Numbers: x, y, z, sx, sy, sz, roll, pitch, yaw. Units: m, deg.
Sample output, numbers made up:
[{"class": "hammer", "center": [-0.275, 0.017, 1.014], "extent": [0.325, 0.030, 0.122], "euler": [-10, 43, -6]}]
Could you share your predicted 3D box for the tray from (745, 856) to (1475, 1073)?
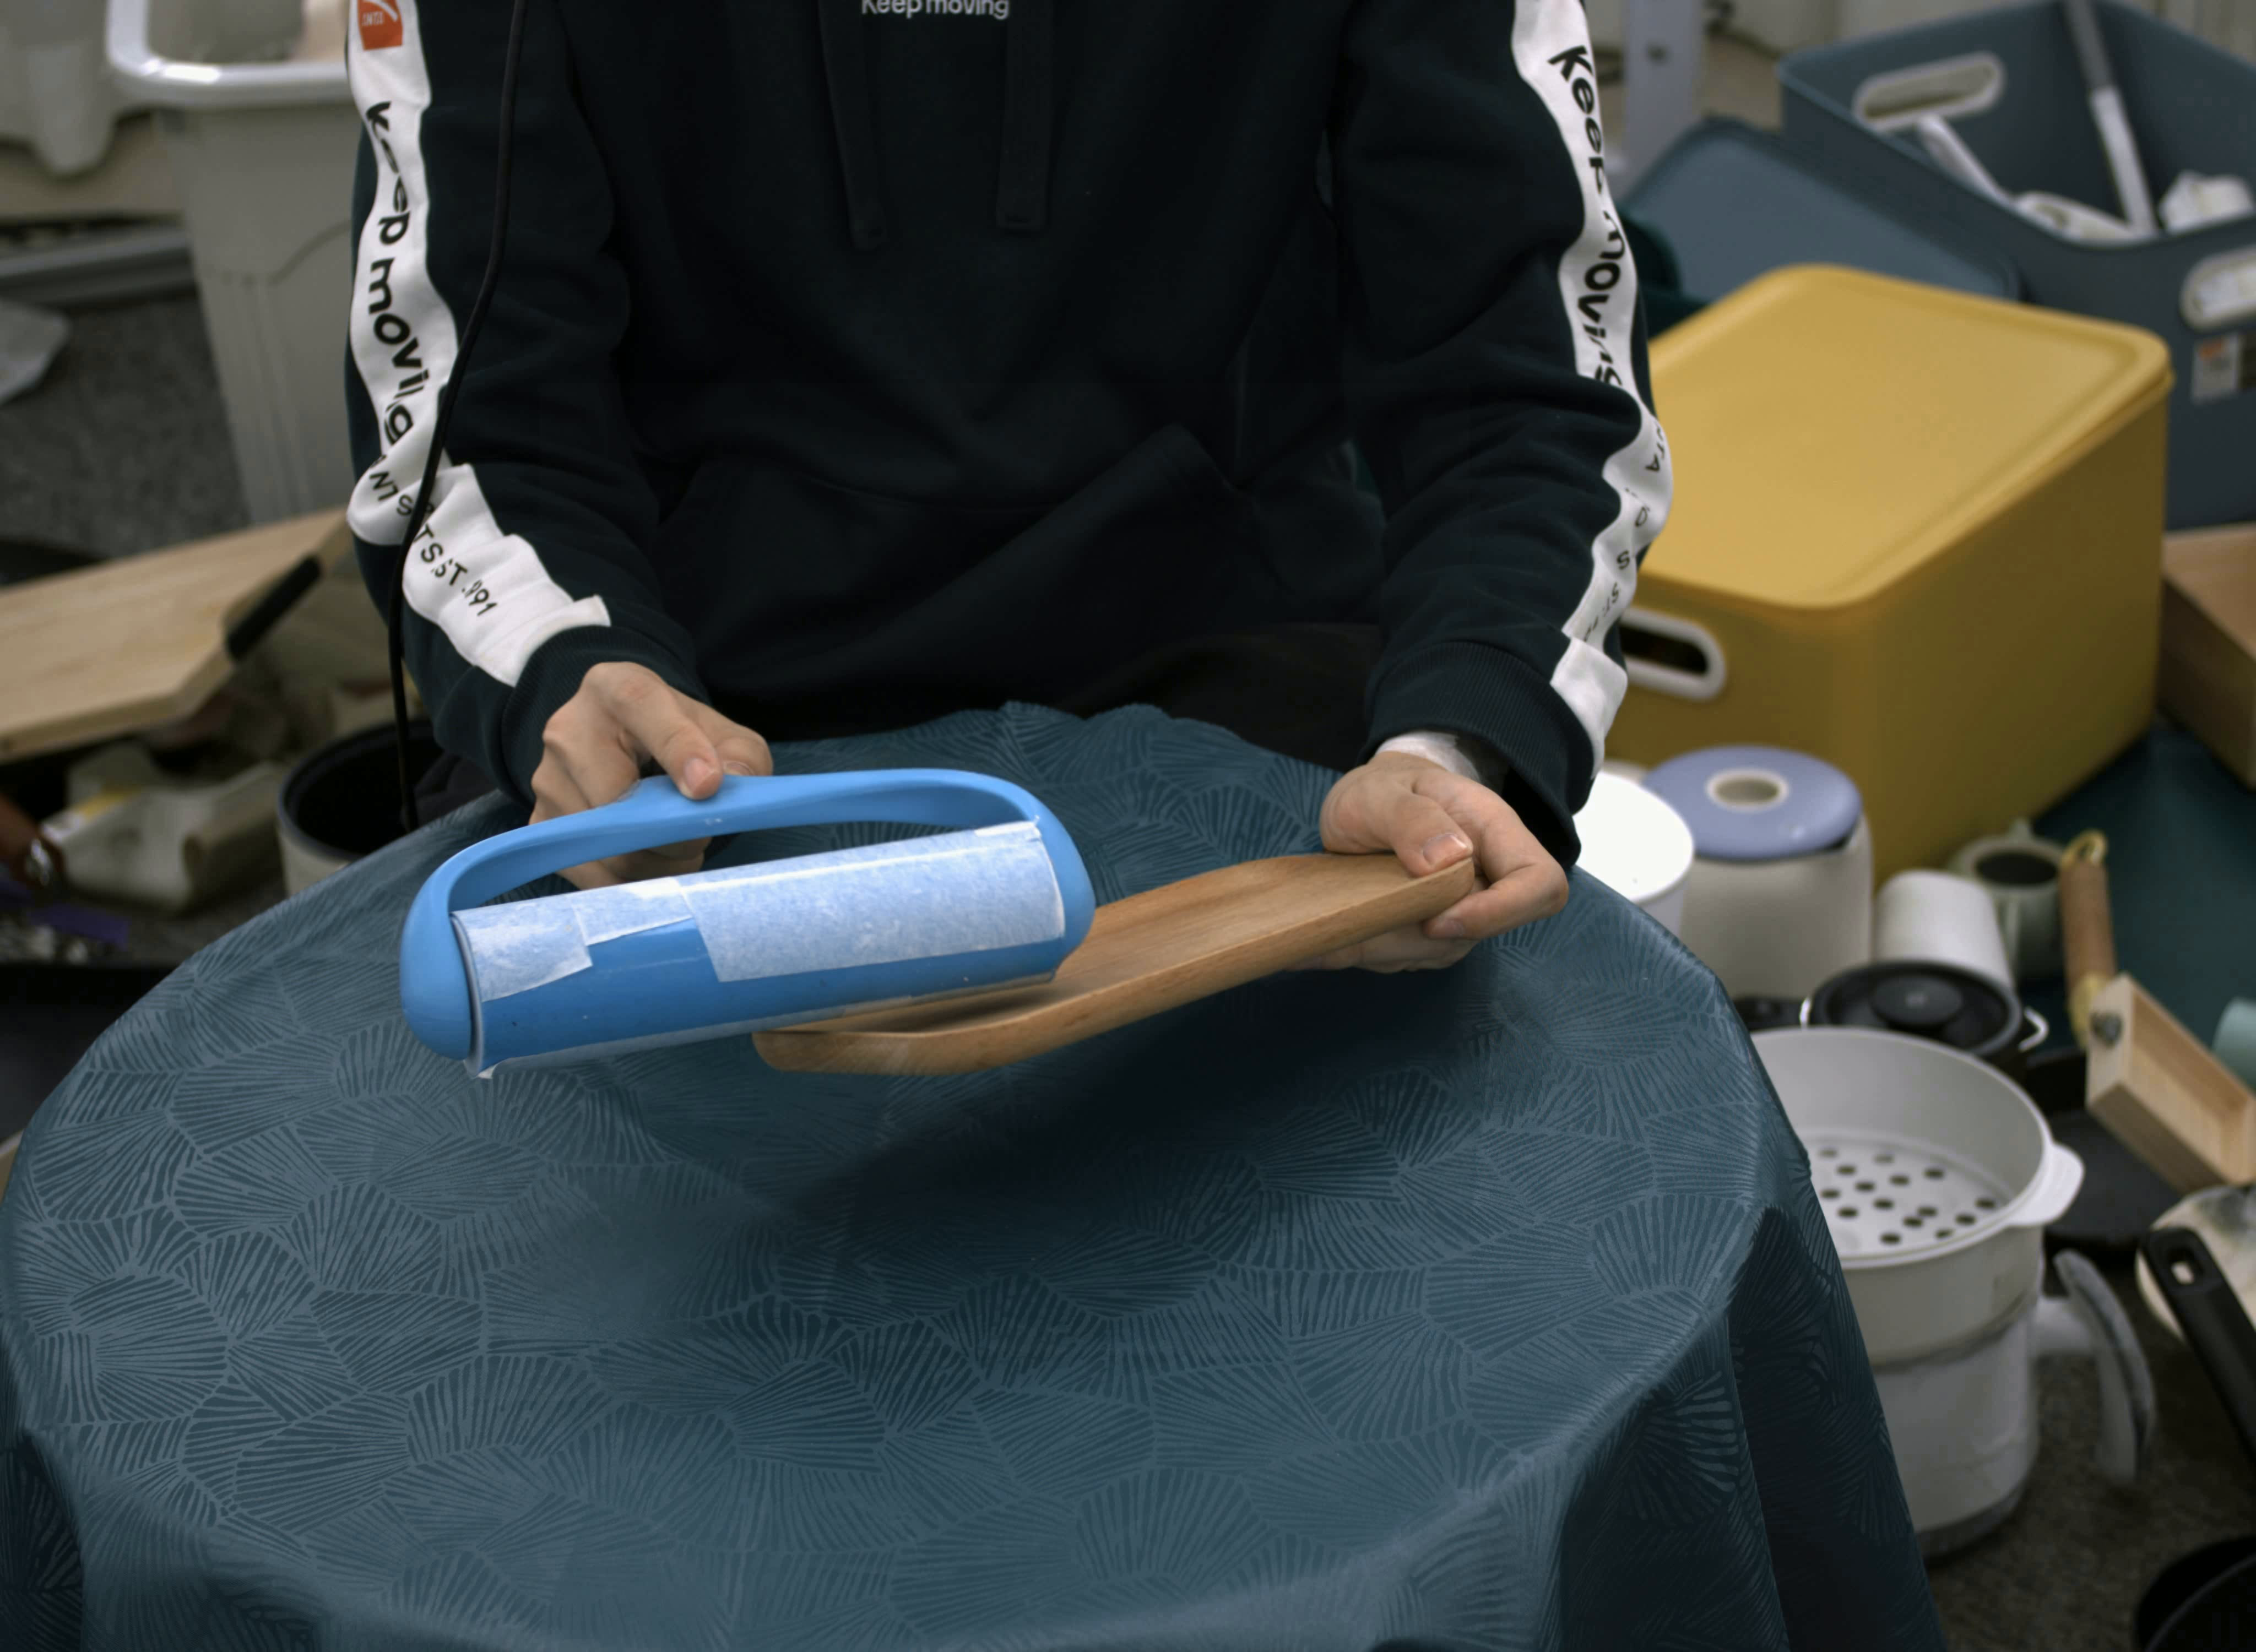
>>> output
[{"class": "tray", "center": [-0.003, 0.045, 1.871], "extent": [0.253, 0.023, 0.129], "euler": [-18, 8, -41]}]

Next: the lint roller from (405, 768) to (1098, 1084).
[{"class": "lint roller", "center": [-0.141, 0.016, 1.845], "extent": [0.229, 0.067, 0.181], "euler": [-12, 26, -20]}]
